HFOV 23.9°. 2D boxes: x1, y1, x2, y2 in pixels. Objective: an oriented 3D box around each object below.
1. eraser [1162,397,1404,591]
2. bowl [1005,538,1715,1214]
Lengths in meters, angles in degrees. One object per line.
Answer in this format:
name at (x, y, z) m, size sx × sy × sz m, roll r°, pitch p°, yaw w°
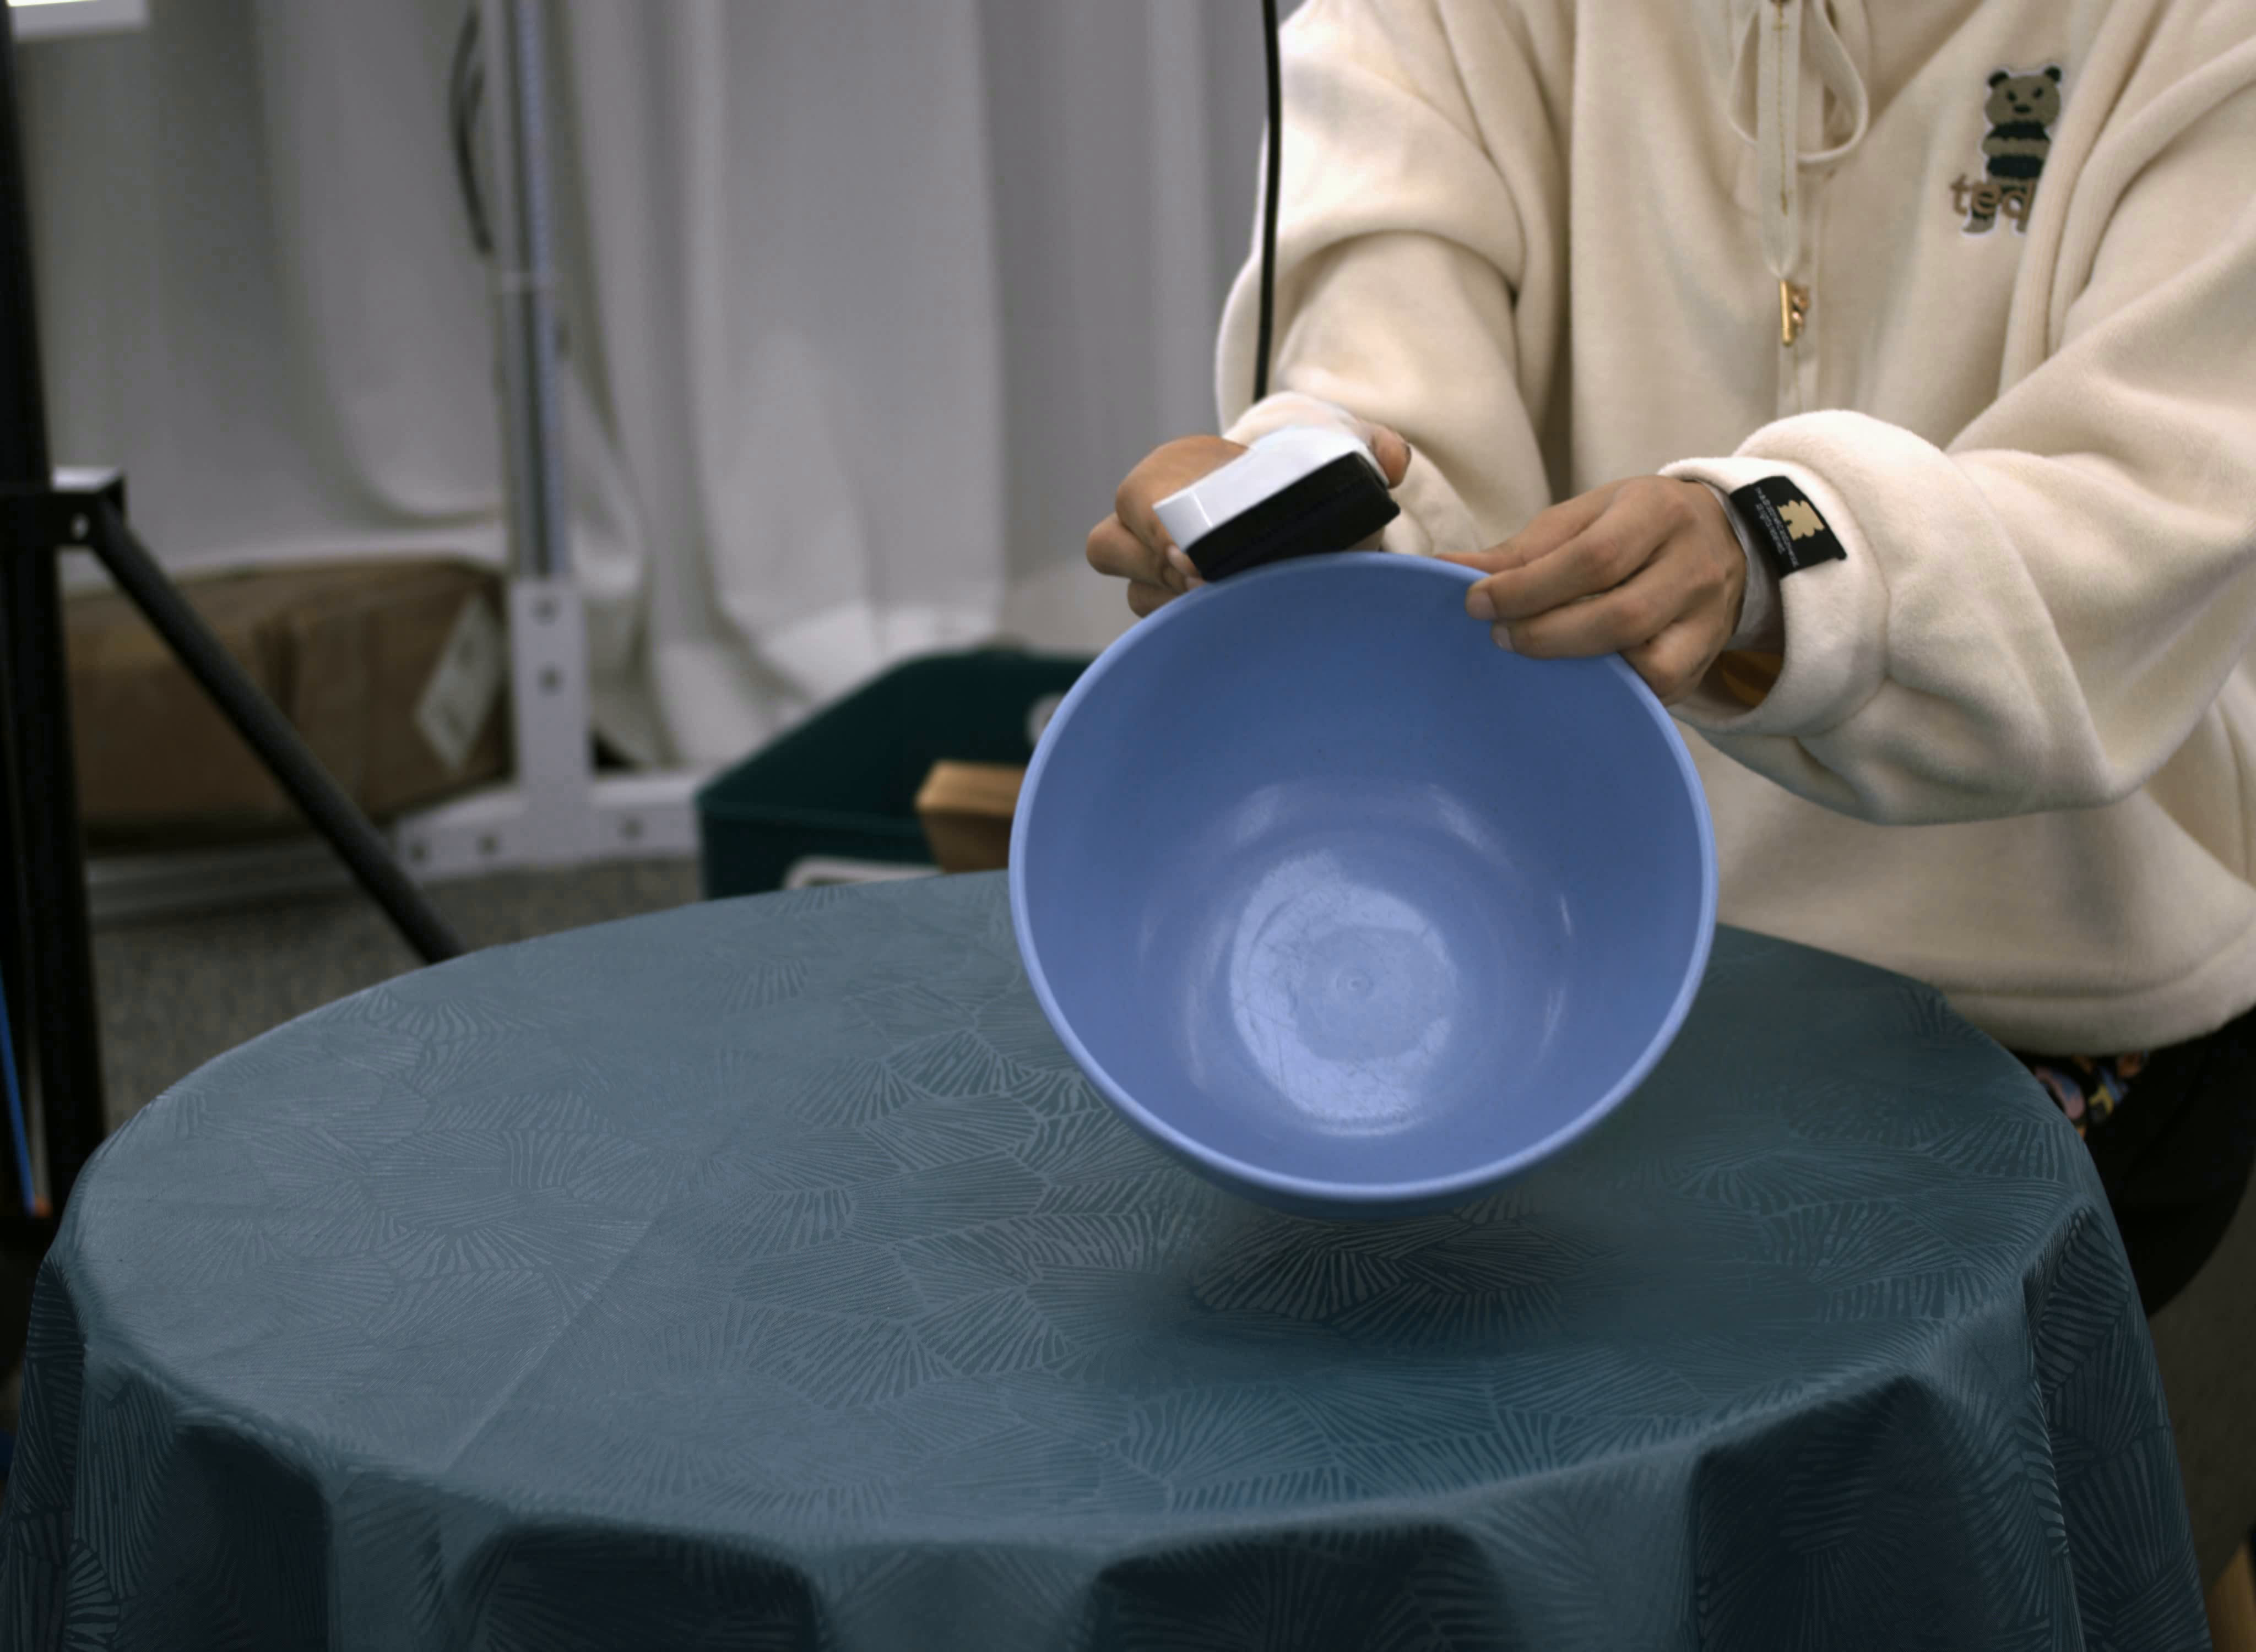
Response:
eraser at (0.046, -0.094, 1.529) m, size 0.063 × 0.035 × 0.130 m, roll -29°, pitch -4°, yaw 6°
bowl at (0.068, 0.027, 1.501) m, size 0.197 × 0.198 × 0.094 m, roll 0°, pitch -24°, yaw 8°
